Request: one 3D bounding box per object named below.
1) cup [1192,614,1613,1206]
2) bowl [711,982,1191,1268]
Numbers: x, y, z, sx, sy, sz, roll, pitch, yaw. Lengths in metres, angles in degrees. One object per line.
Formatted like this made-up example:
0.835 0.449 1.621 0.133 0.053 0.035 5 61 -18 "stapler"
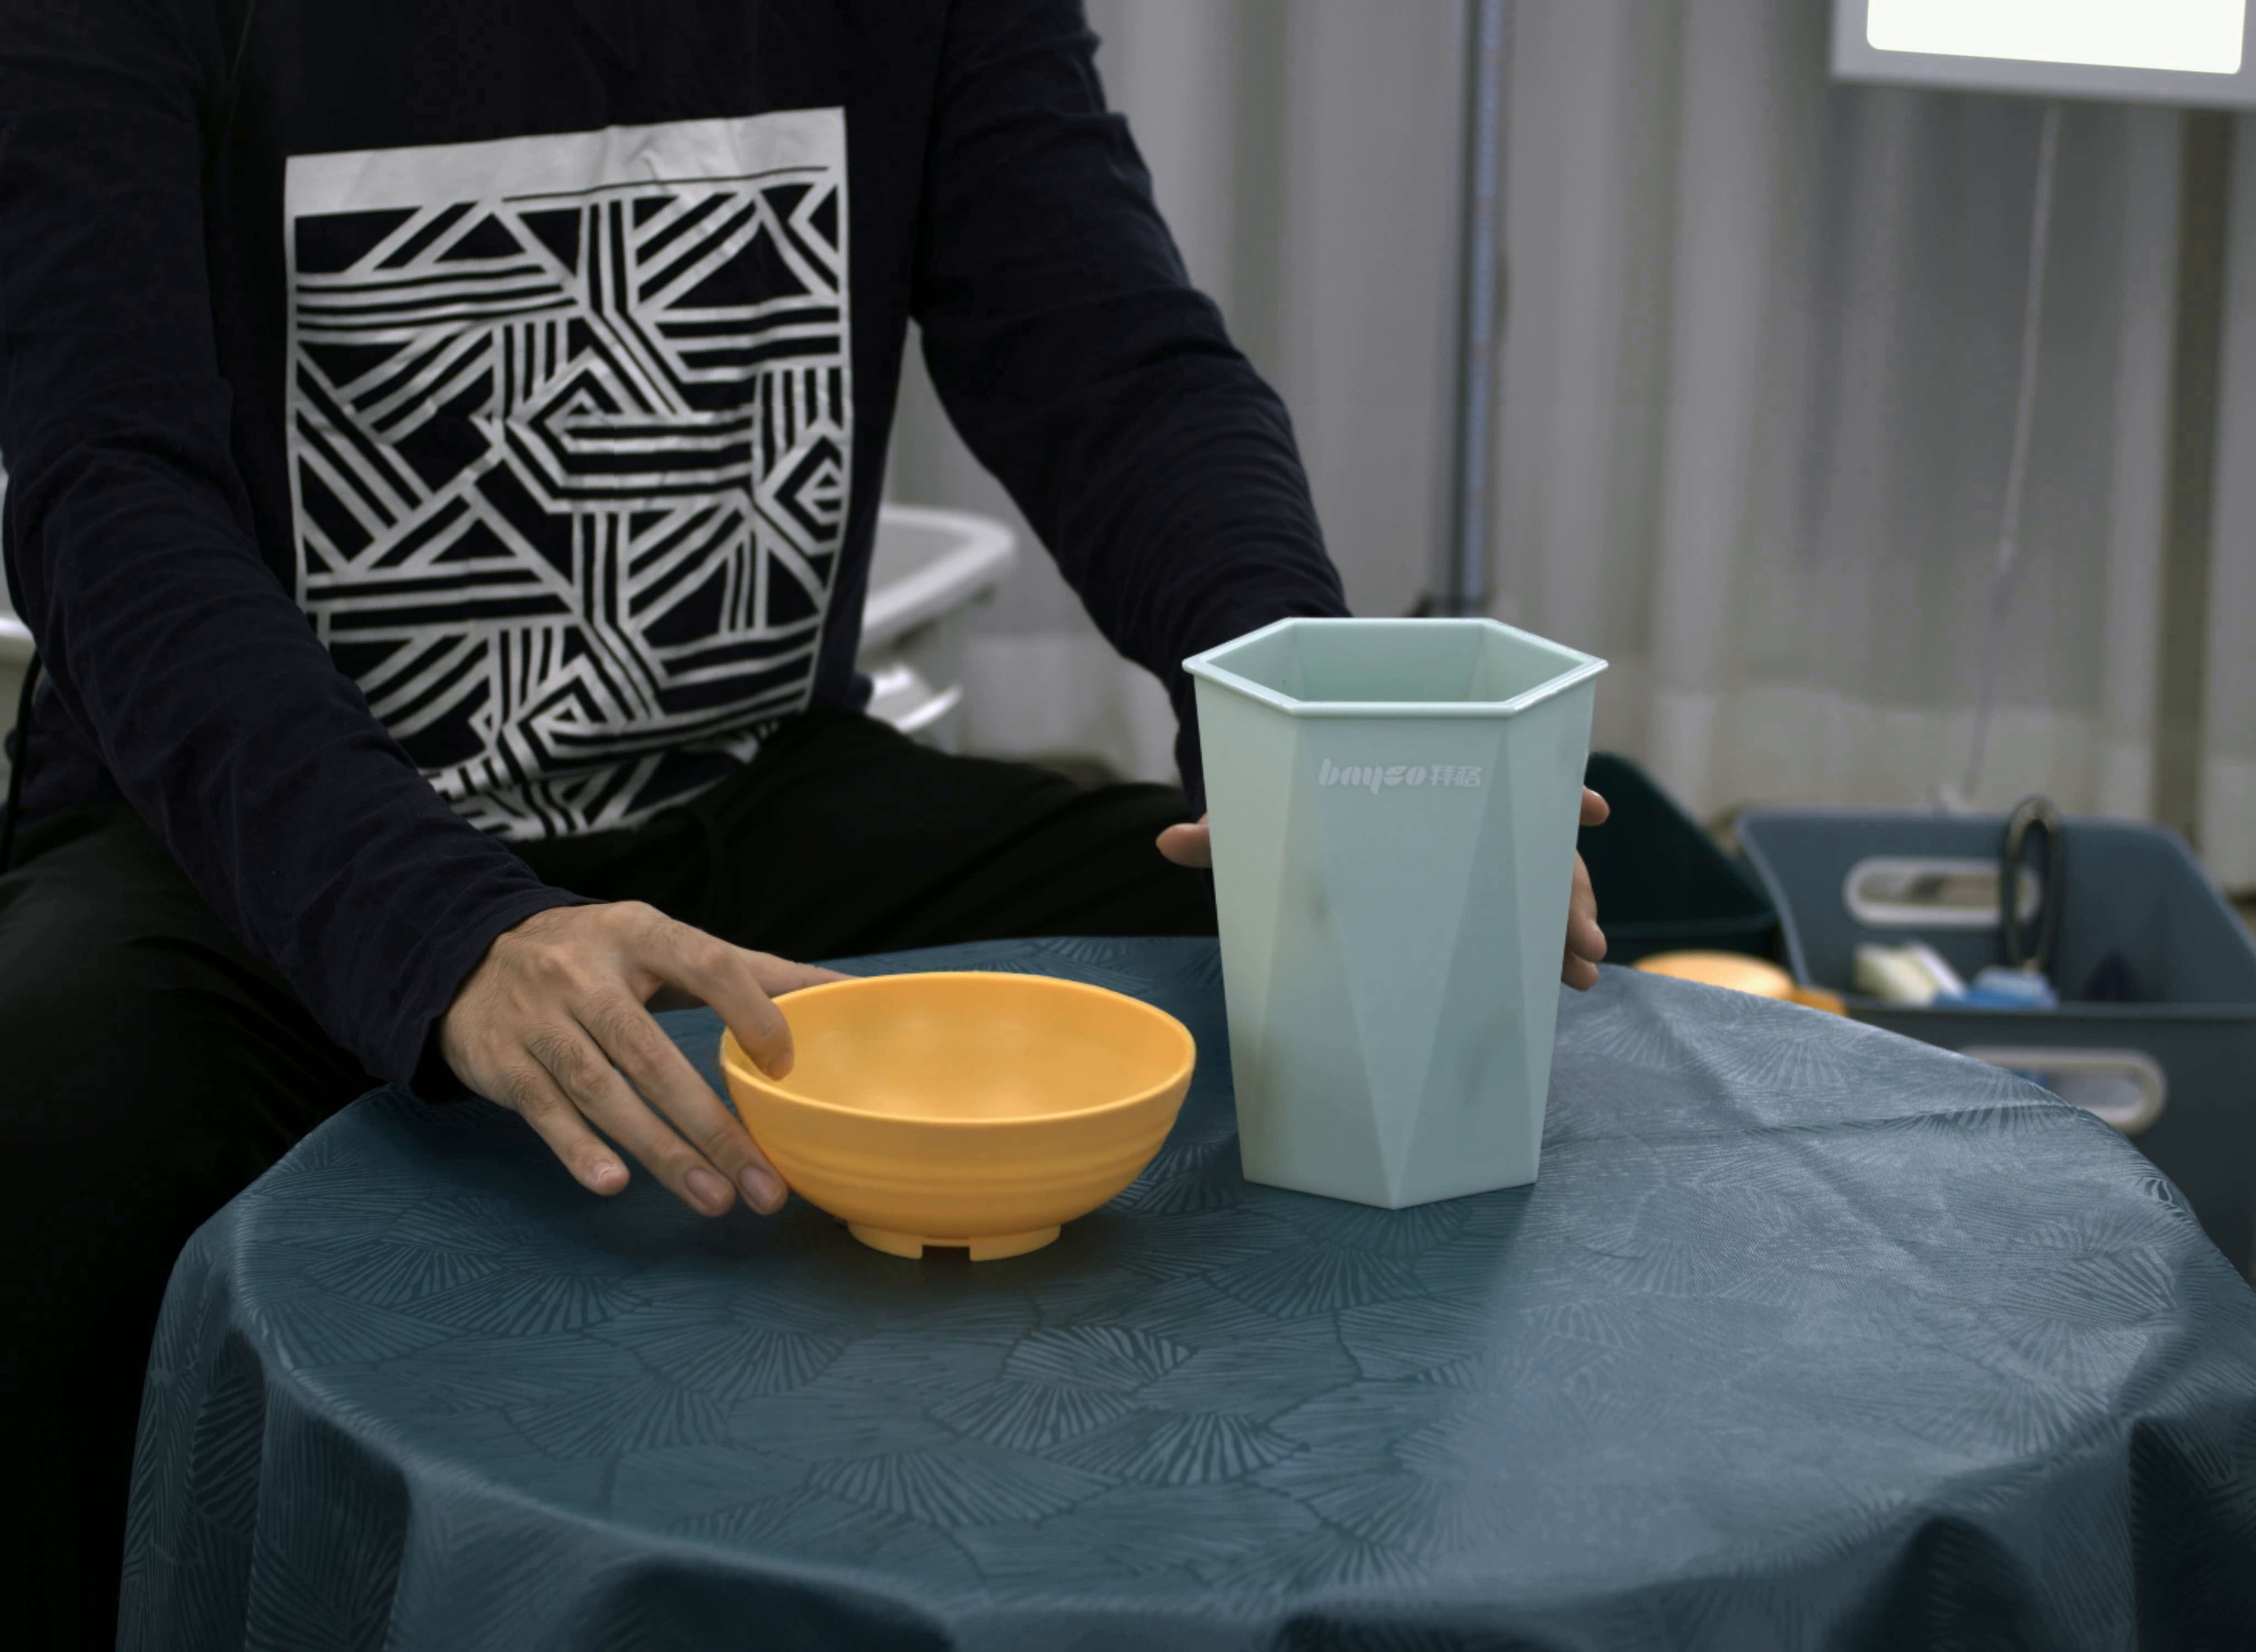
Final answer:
0.082 0.026 1.636 0.131 0.164 0.114 1 14 -3 "cup"
-0.054 0.095 1.585 0.145 0.060 0.144 3 14 0 "bowl"
